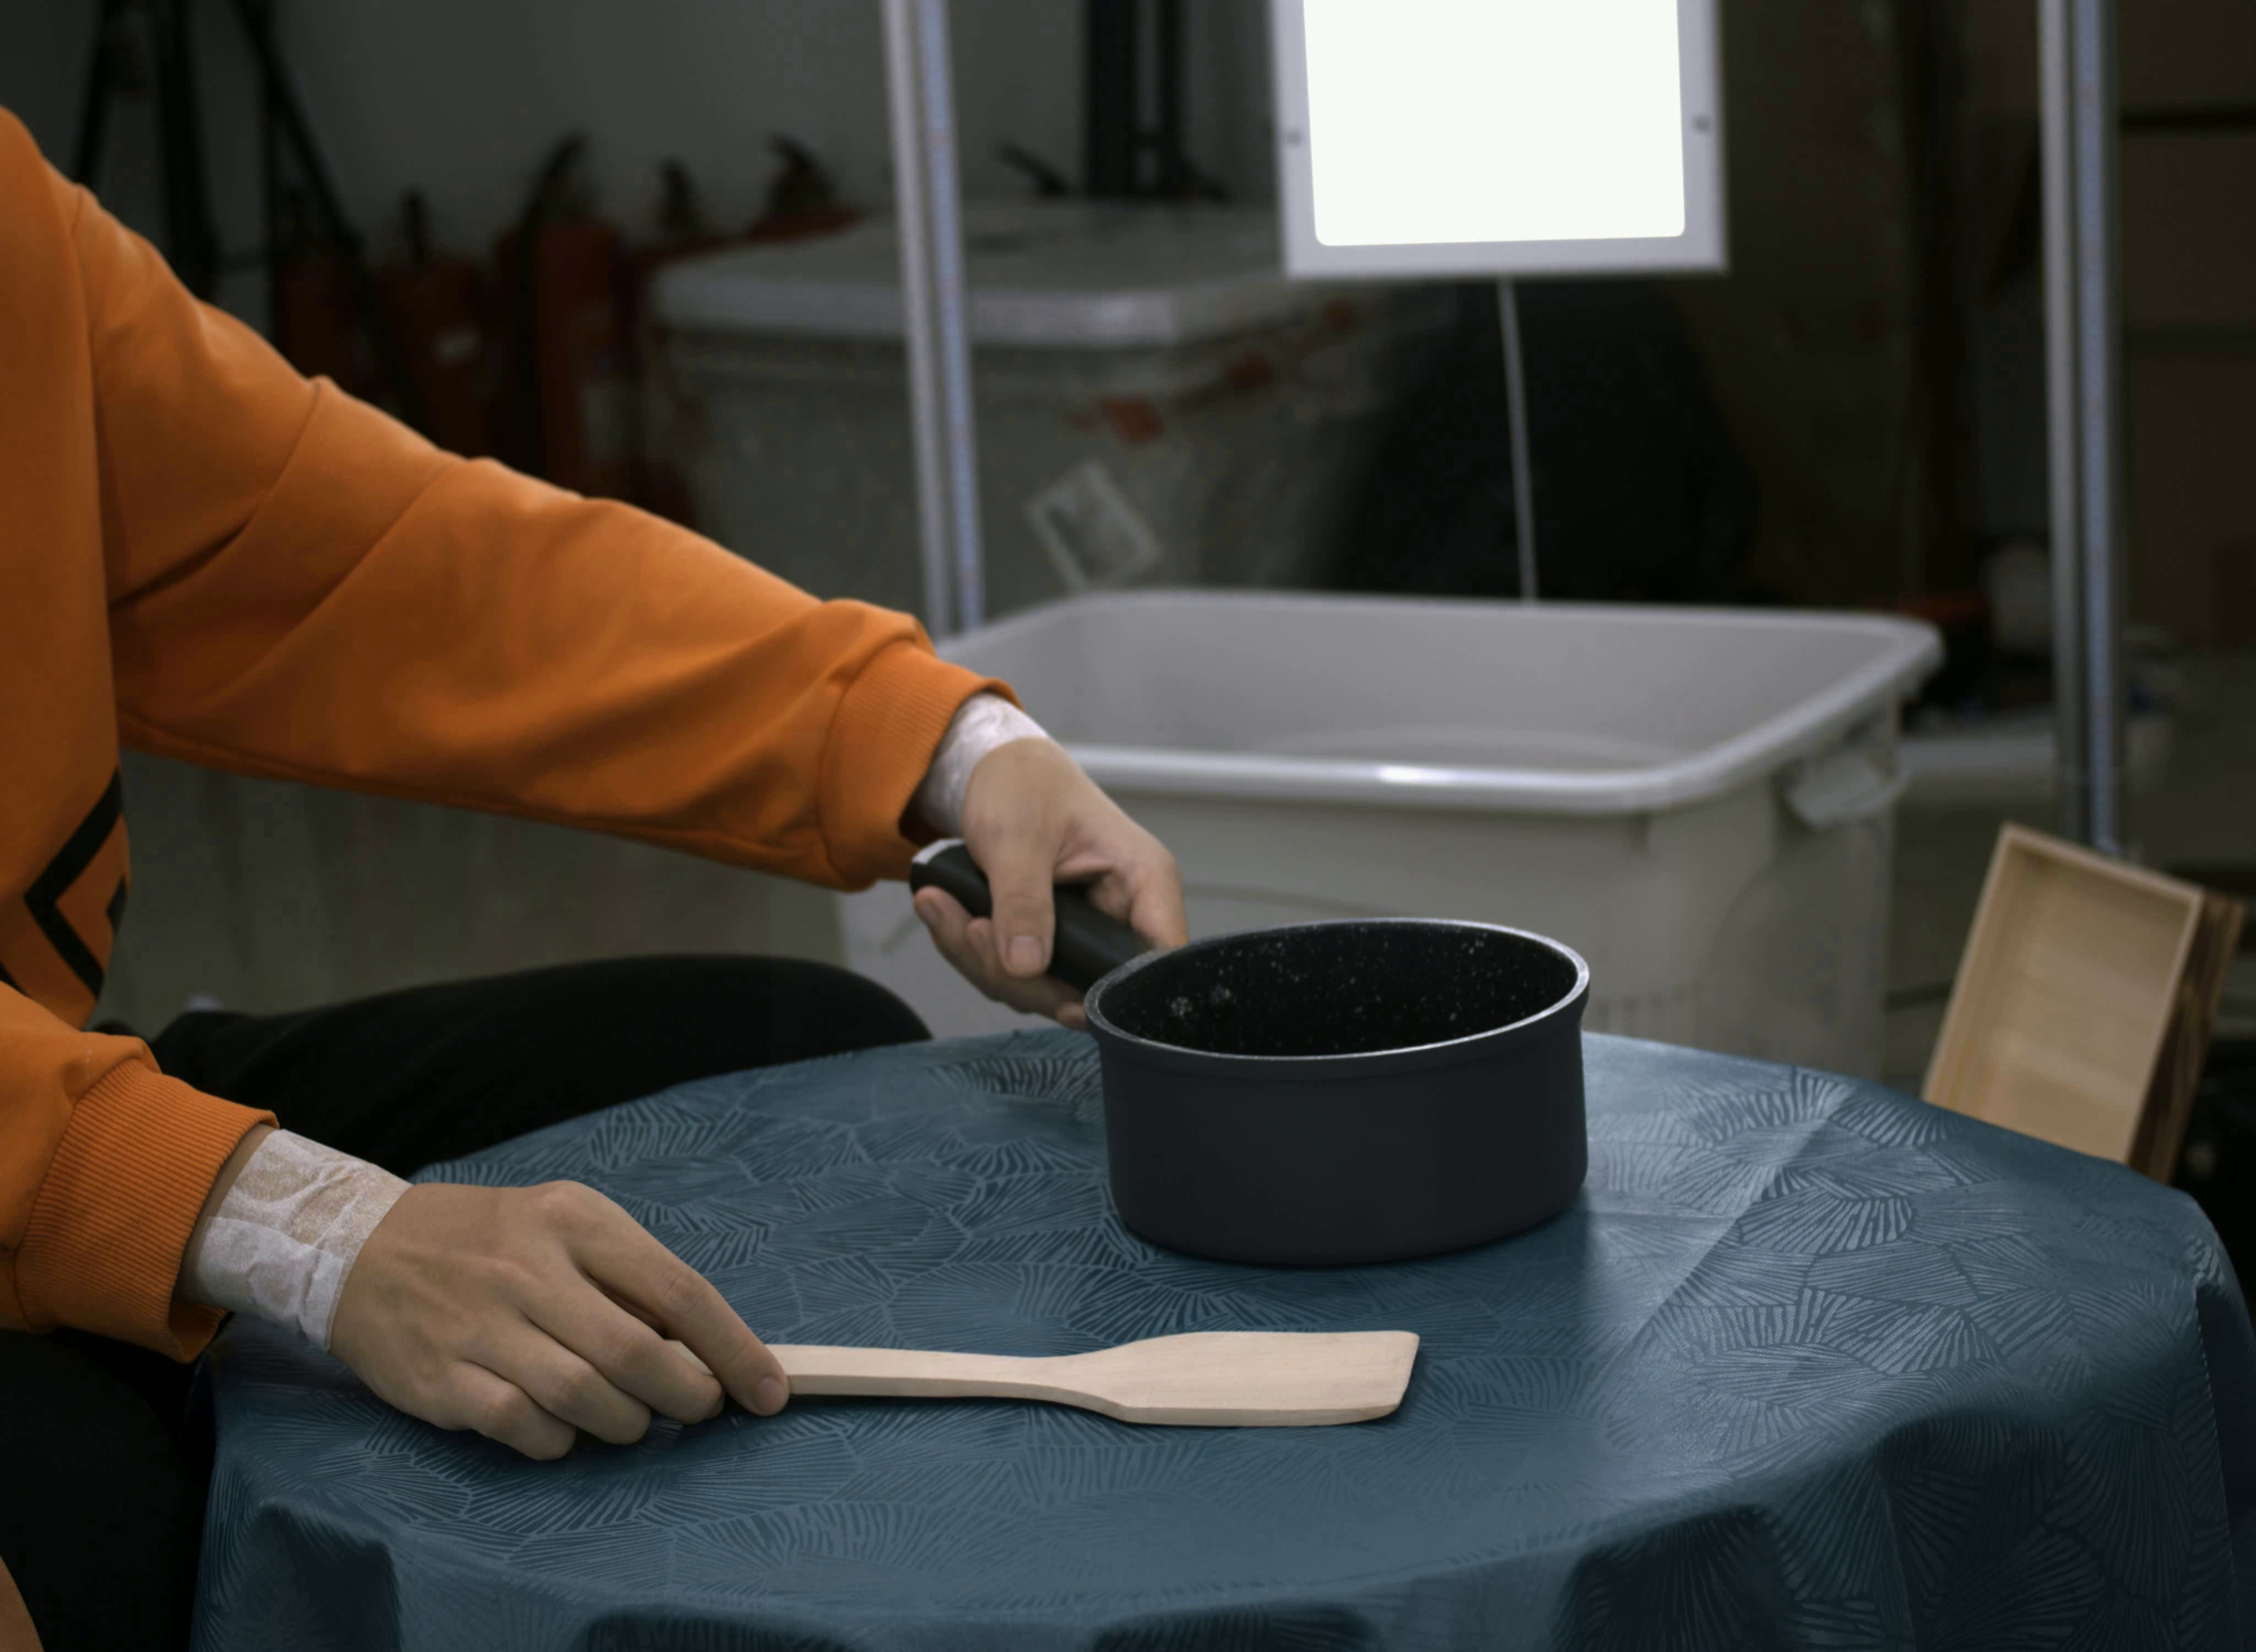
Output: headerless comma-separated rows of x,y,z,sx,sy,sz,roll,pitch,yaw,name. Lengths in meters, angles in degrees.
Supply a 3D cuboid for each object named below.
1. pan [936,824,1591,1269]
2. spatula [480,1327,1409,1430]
0.030,0.072,1.928,0.168,0.087,0.335,-13,17,-30,pan
-0.060,0.169,1.712,0.295,0.011,0.071,0,17,12,spatula
